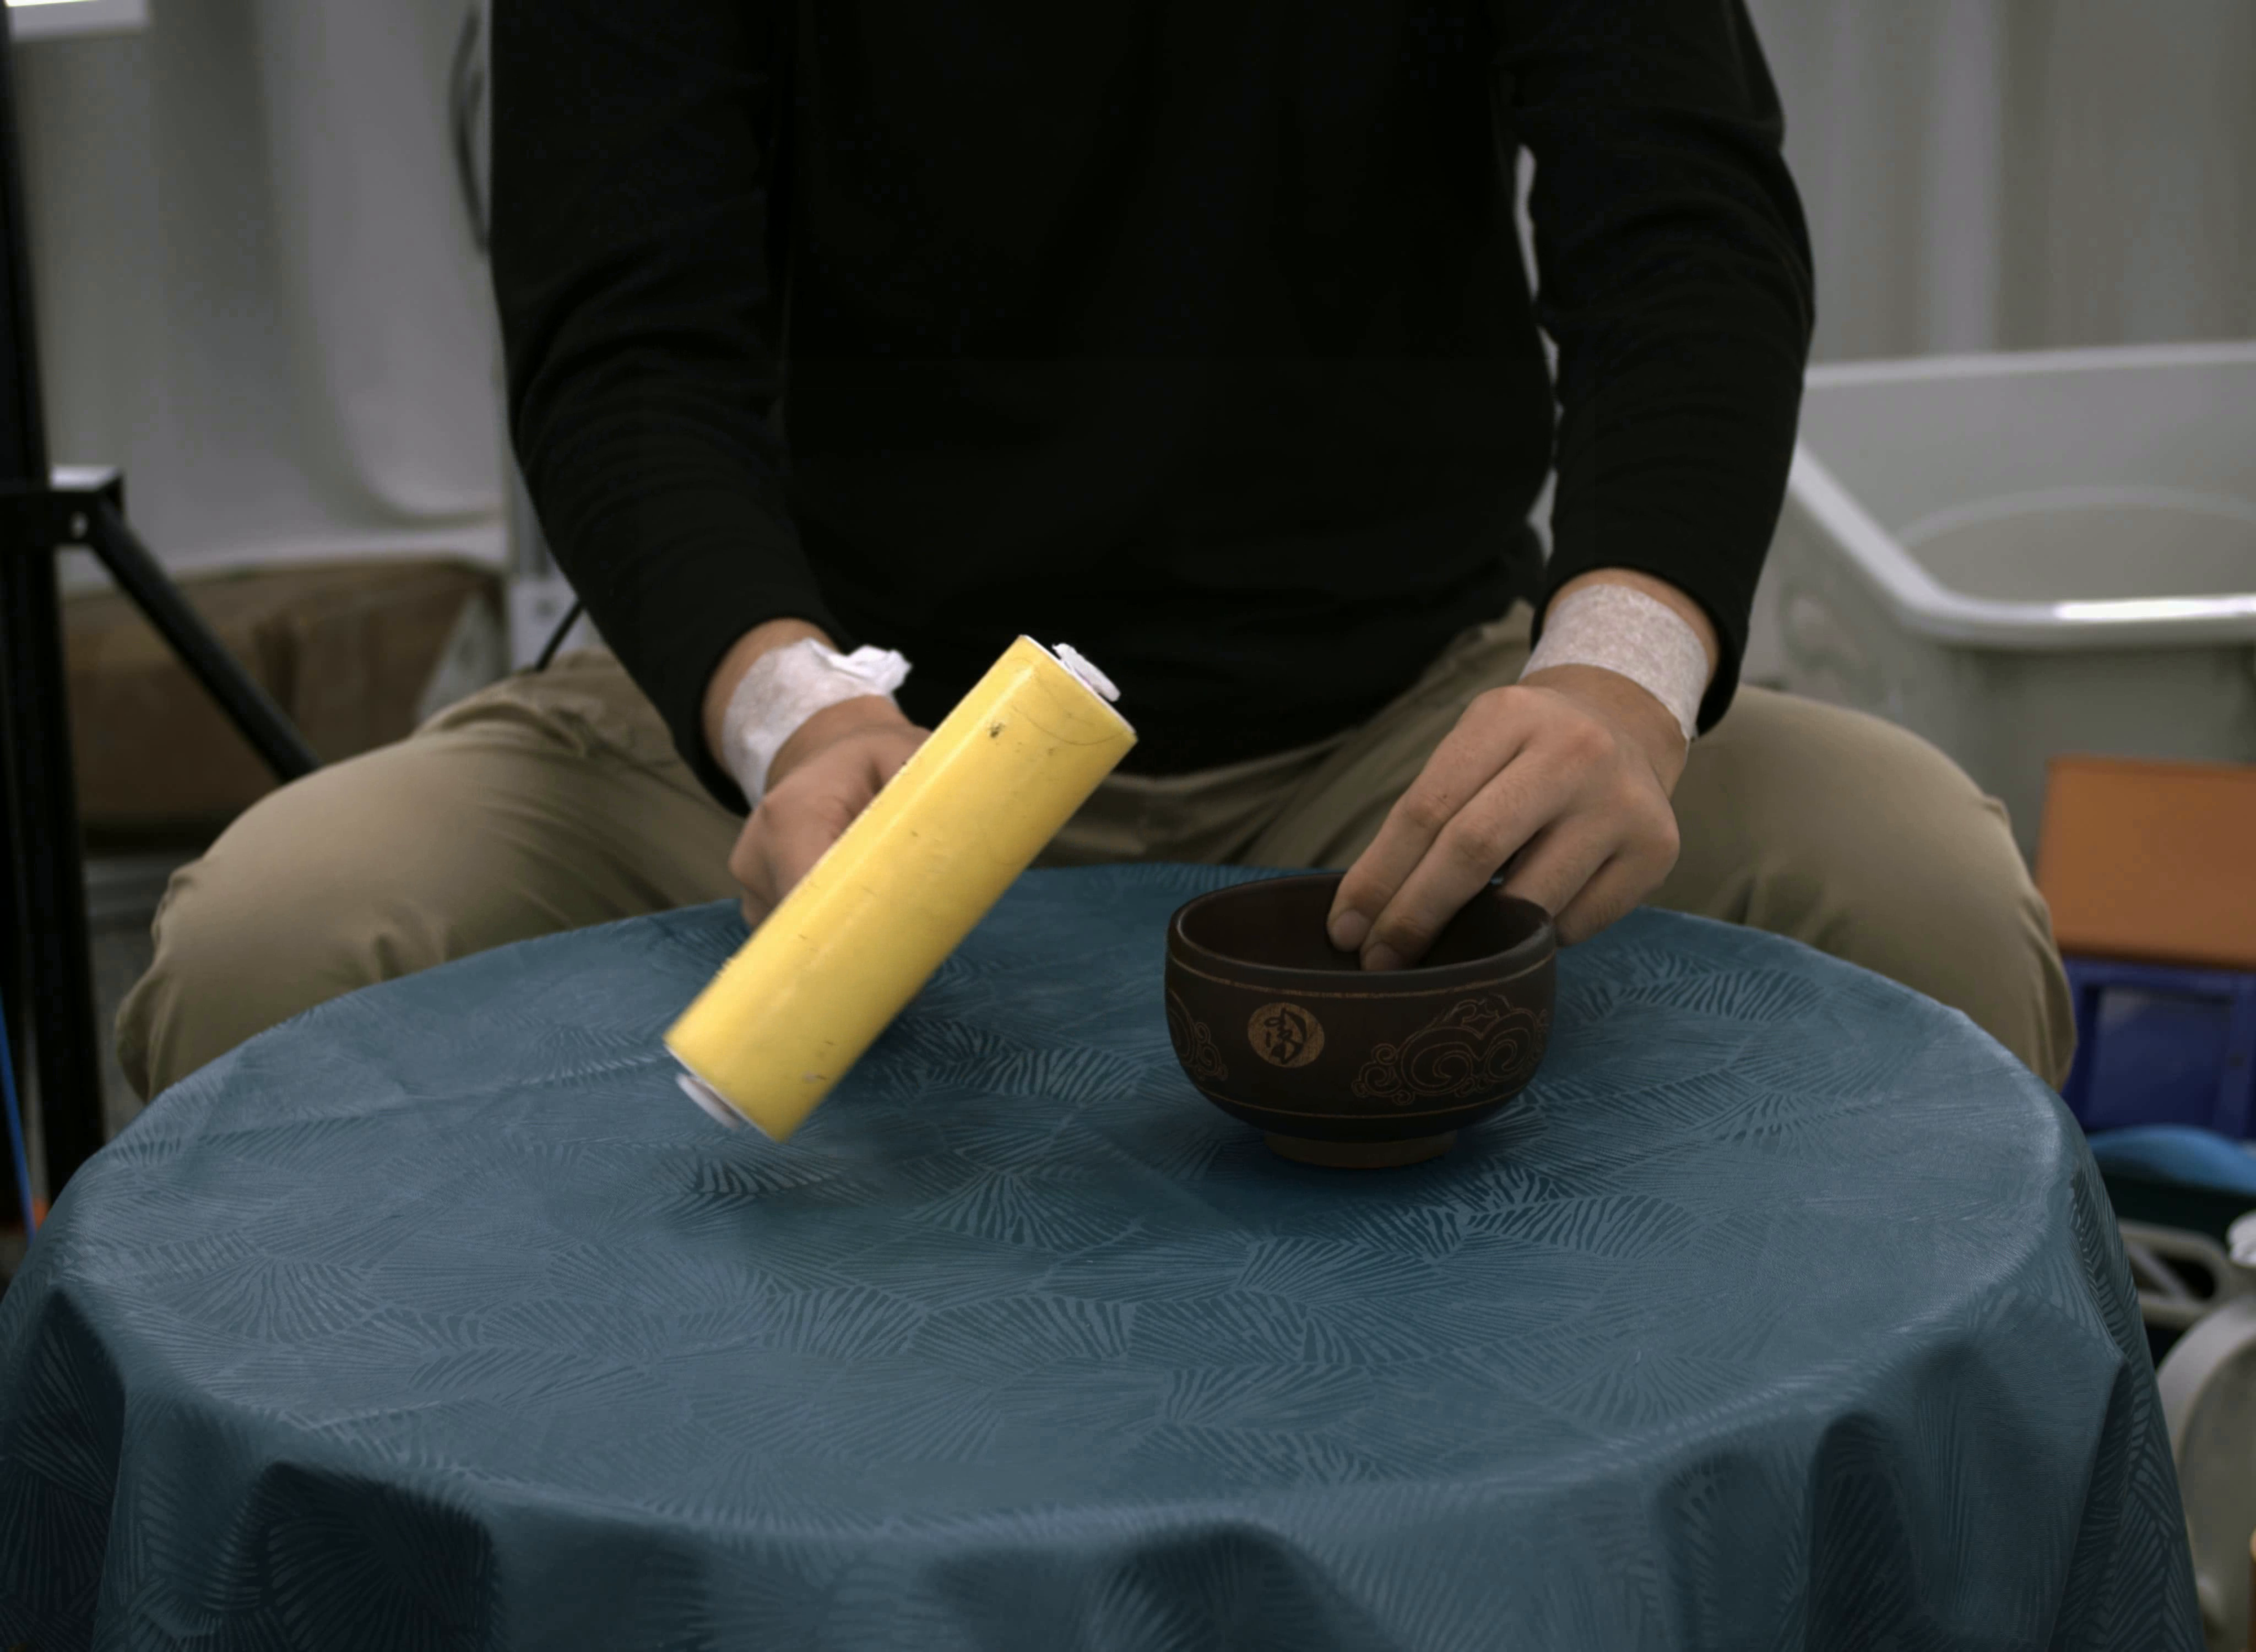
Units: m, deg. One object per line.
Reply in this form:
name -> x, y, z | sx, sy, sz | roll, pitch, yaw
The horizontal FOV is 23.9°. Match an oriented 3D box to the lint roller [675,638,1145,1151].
lint roller -> -0.081, 0.013, 1.641 | 0.174, 0.051, 0.194 | -50, 16, -4

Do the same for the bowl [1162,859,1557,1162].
bowl -> 0.069, 0.059, 1.581 | 0.117, 0.070, 0.118 | 0, 15, -1
